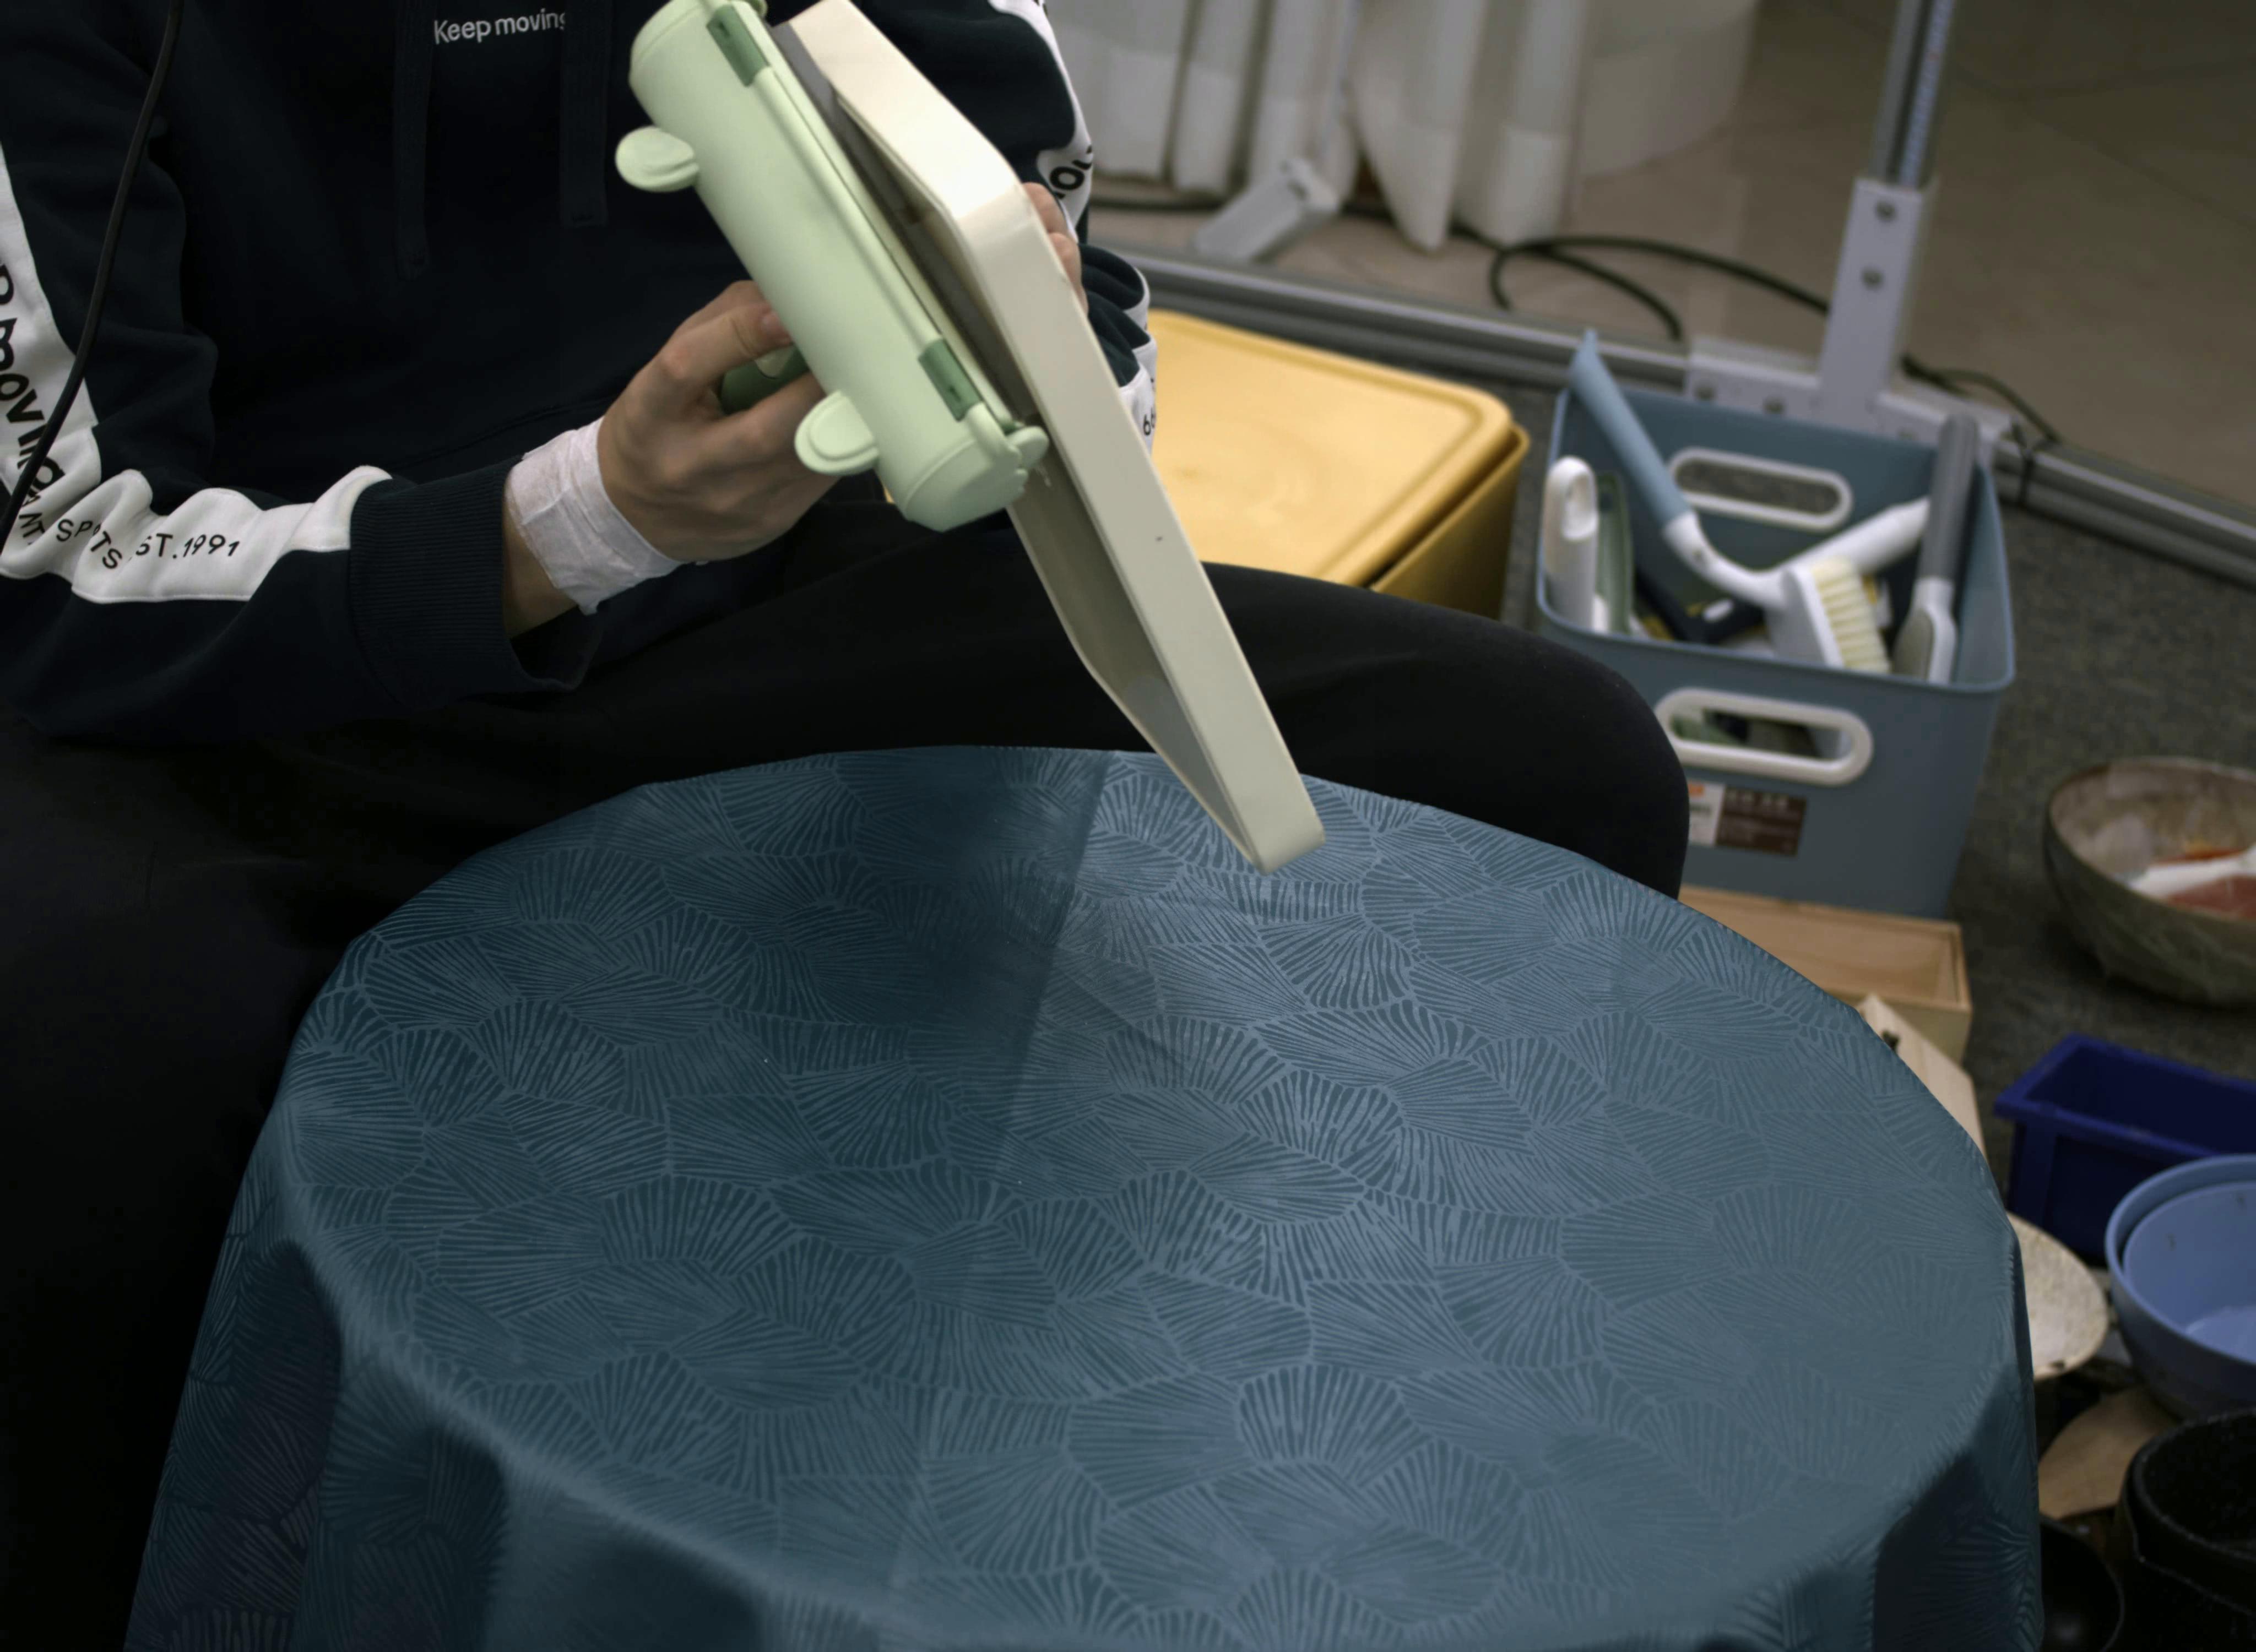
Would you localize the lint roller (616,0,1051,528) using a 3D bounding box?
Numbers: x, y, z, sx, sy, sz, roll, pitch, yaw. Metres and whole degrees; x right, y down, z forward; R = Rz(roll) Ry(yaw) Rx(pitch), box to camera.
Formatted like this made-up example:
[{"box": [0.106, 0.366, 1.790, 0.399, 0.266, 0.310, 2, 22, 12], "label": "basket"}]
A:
[{"box": [-0.122, -0.161, 1.791, 0.082, 0.183, 0.199, -23, 73, -34], "label": "lint roller"}]

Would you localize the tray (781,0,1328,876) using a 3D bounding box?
[{"box": [-0.026, -0.134, 1.837, 0.027, 0.298, 0.193, -30, 34, -7], "label": "tray"}]
